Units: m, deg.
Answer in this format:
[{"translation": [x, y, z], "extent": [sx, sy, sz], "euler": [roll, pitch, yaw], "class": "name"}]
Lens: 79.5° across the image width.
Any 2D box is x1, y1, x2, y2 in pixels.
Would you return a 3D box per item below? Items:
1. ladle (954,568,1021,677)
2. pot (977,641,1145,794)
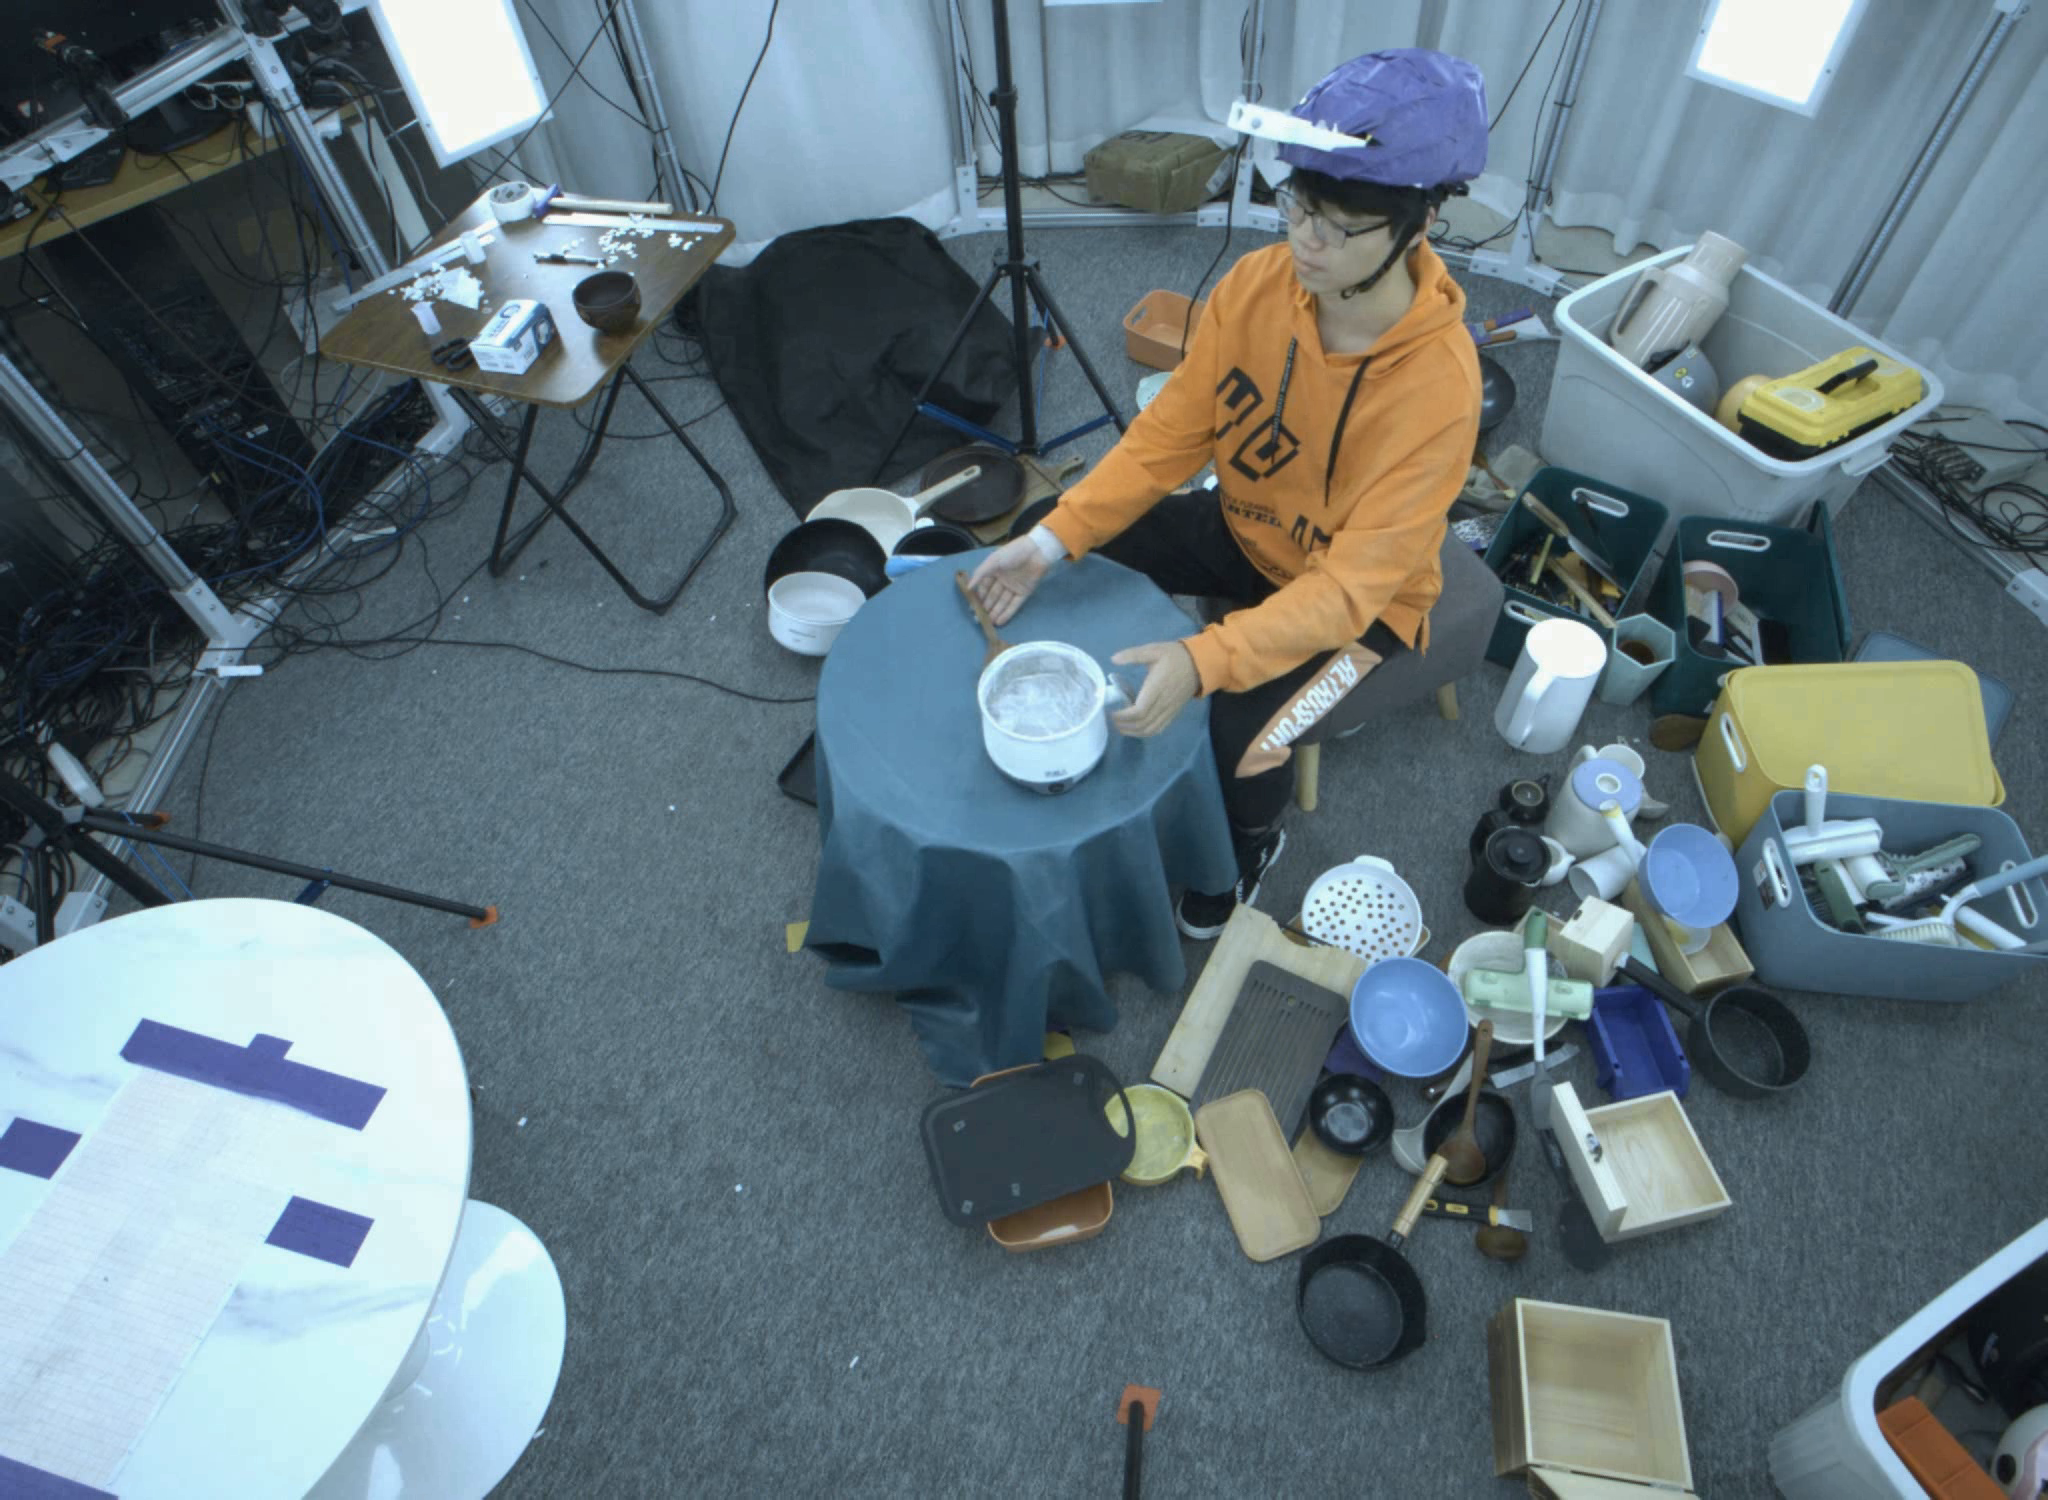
[{"translation": [-0.067, -0.208, 1.897], "extent": [0.076, 0.066, 0.256], "euler": [-23, 57, -2], "class": "ladle"}, {"translation": [0.055, -0.050, 1.736], "extent": [0.234, 0.138, 0.176], "euler": [-11, 55, -5], "class": "pot"}]
